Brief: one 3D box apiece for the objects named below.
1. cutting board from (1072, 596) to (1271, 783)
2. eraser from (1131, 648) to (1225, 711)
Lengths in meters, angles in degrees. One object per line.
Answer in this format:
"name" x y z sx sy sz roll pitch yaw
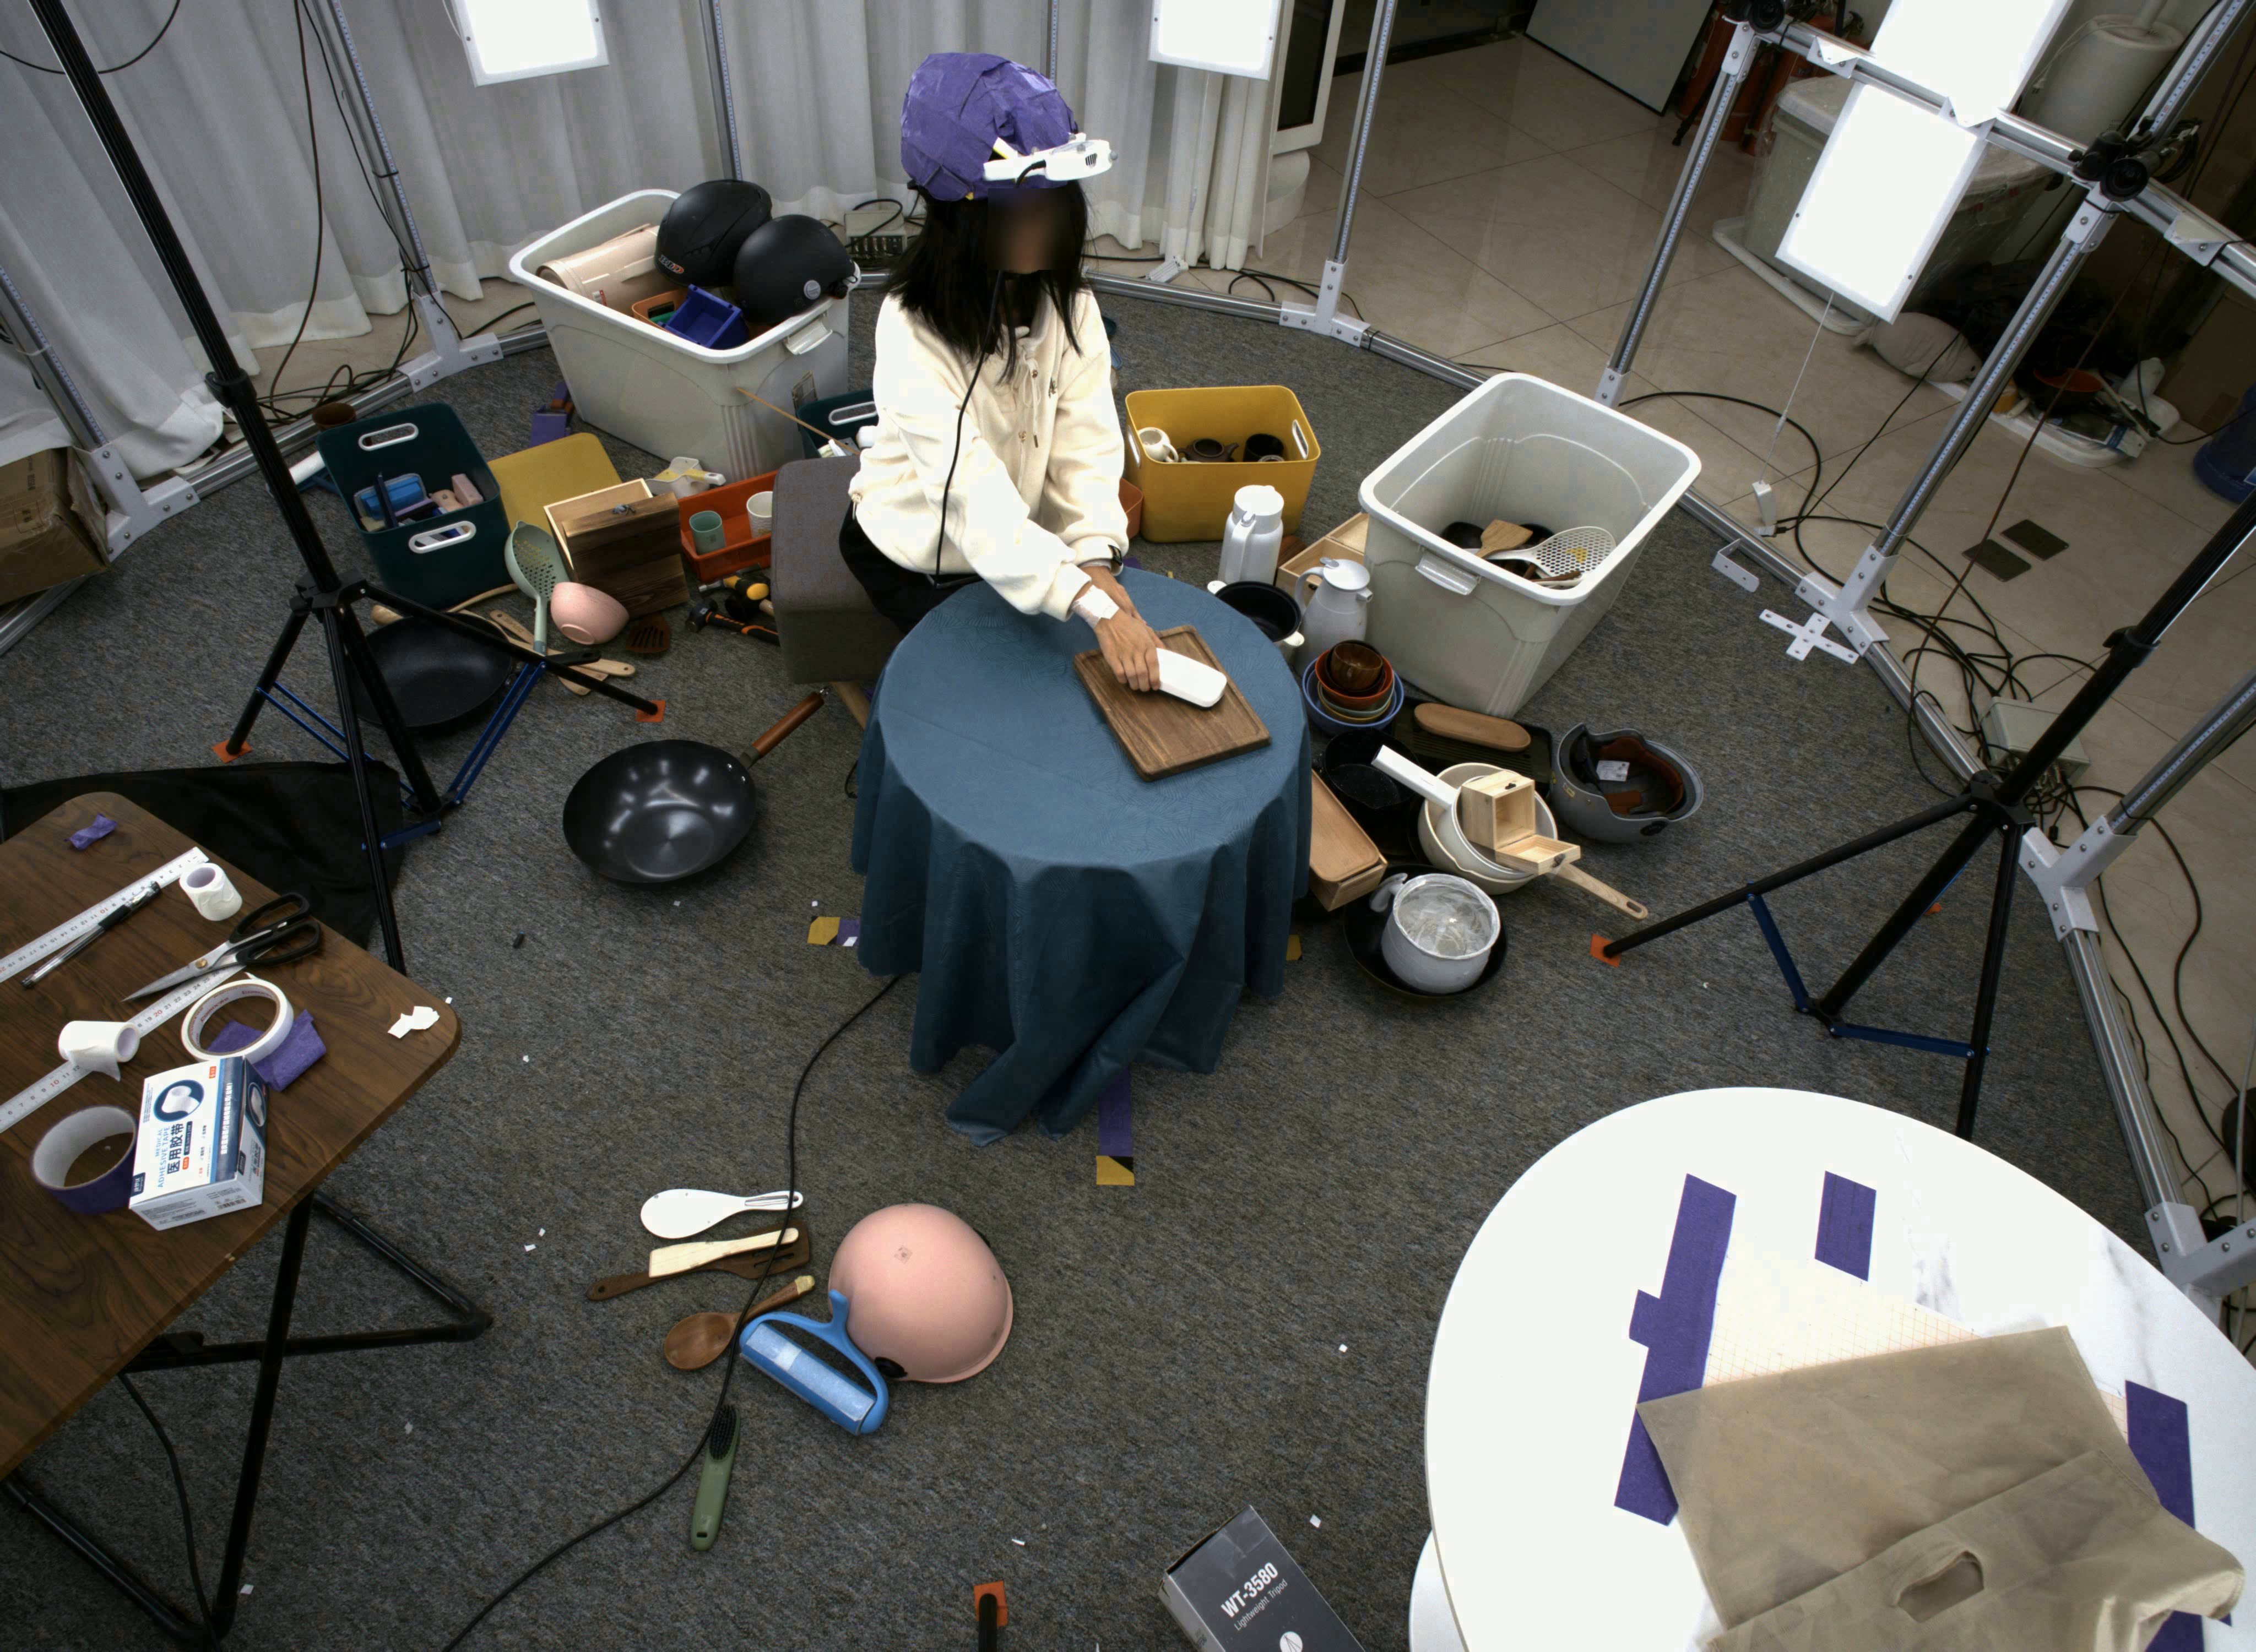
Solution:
"cutting board" 0.038 -0.215 1.845 0.201 0.022 0.360 -17 53 -18
"eraser" 0.070 -0.211 1.819 0.132 0.034 0.064 25 52 16
